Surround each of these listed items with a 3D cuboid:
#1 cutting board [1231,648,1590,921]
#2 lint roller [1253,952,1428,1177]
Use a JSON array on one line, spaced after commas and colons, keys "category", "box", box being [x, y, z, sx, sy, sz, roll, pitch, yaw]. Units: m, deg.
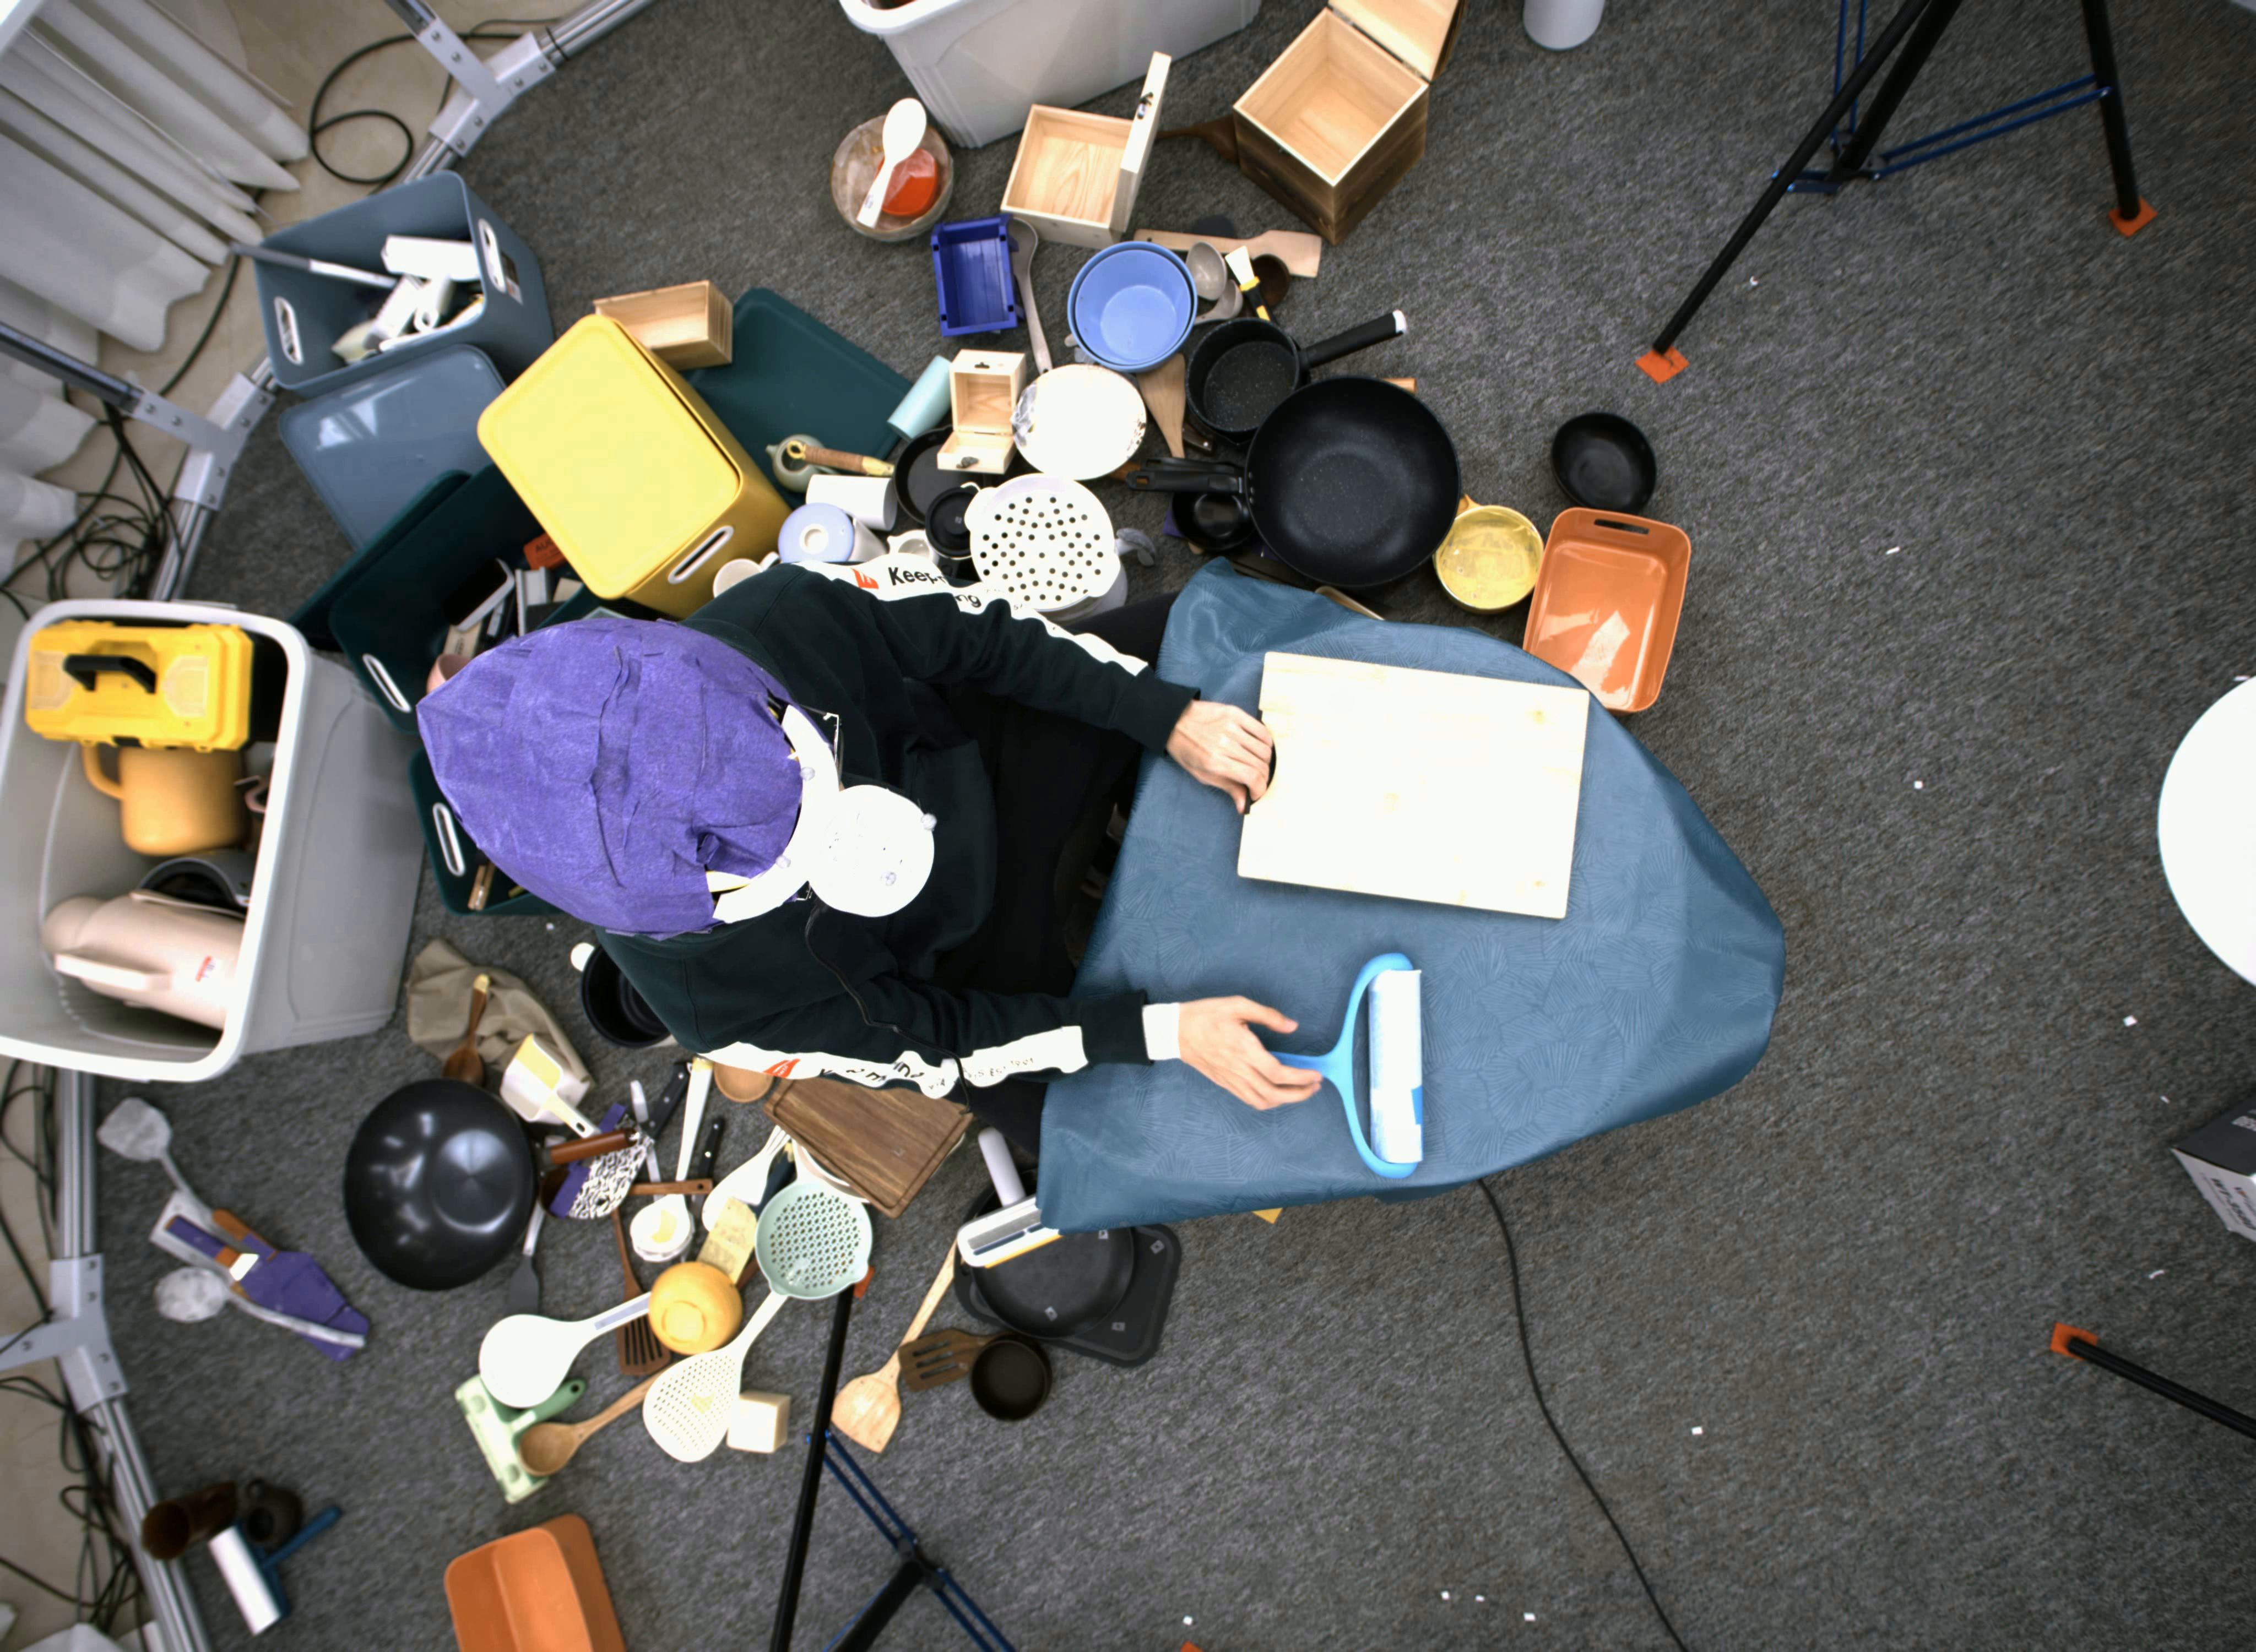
[{"category": "cutting board", "box": [0.293, -0.046, 1.435, 0.349, 0.023, 0.250, 6, 88, 6]}, {"category": "lint roller", "box": [0.218, 0.247, 1.427, 0.181, 0.068, 0.228, -4, 88, 9]}]
